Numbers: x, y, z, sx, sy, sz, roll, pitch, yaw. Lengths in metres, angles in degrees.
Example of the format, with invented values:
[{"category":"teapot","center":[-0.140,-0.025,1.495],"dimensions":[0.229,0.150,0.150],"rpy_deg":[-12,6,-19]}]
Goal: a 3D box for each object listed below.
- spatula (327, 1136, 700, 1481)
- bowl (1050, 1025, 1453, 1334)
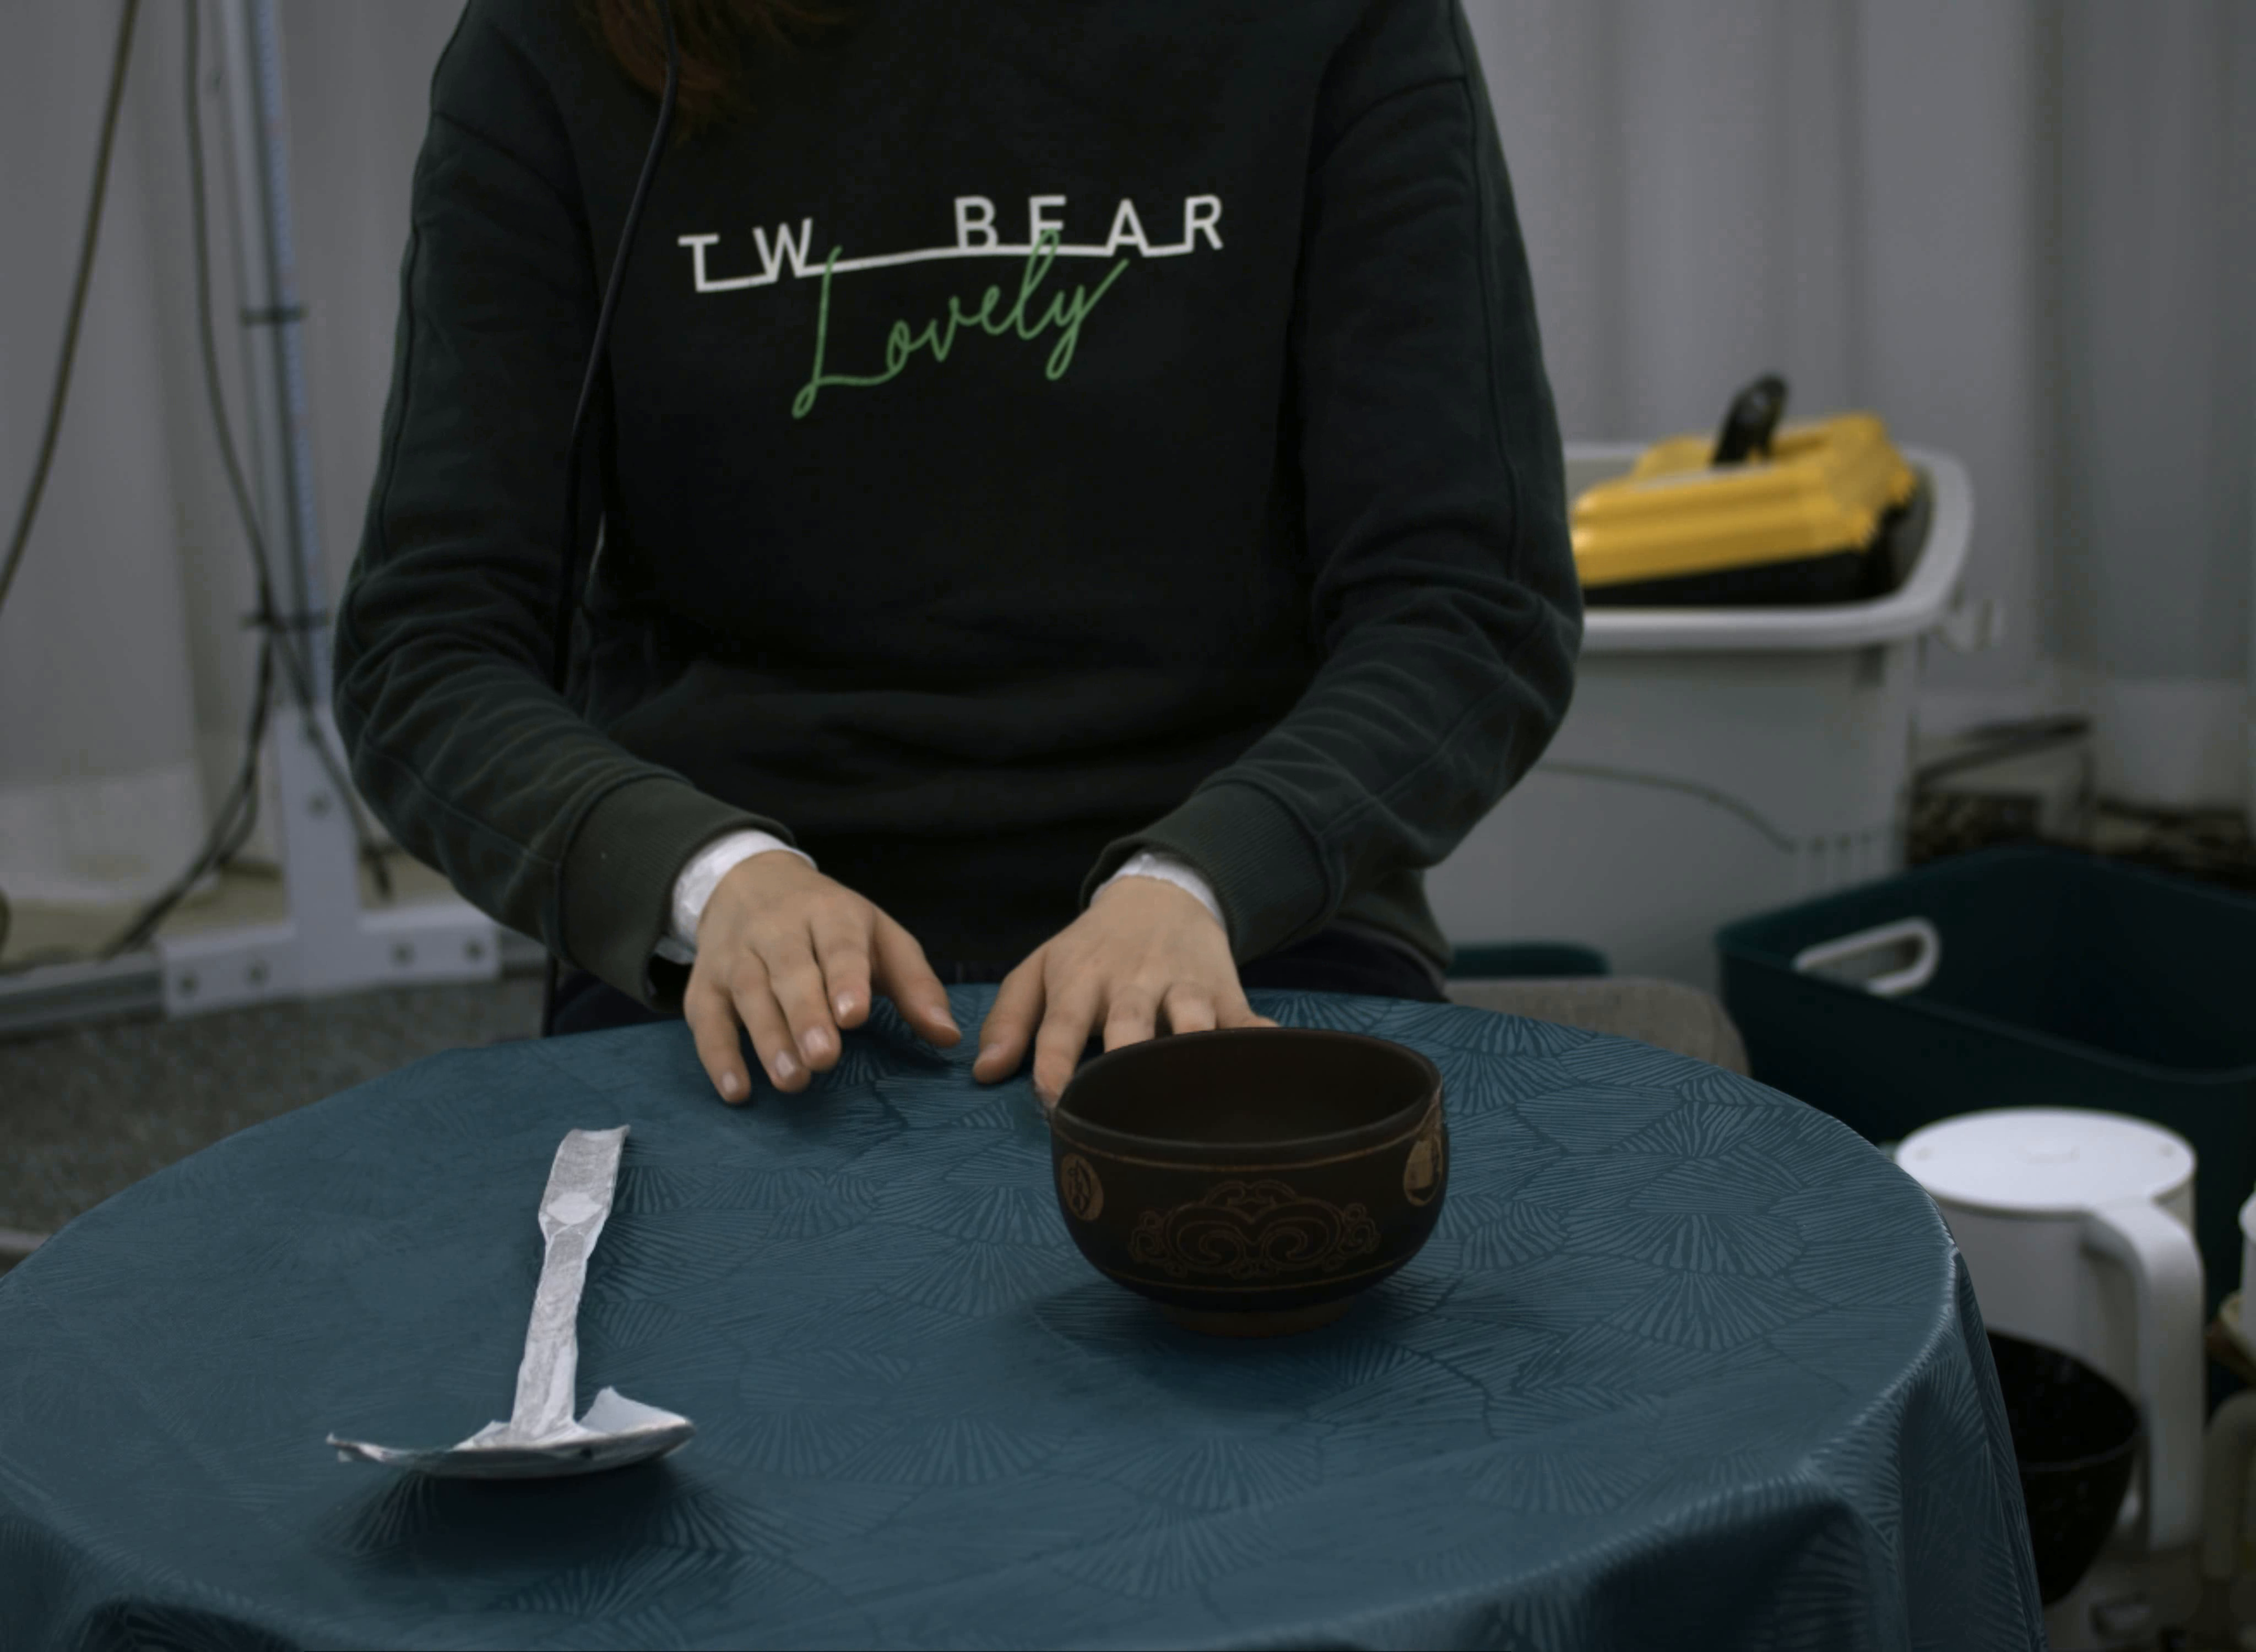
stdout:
[{"category":"spatula","center":[-0.163,0.132,1.604],"dimensions":[0.098,0.044,0.367],"rpy_deg":[-5,15,1]},{"category":"bowl","center":[0.036,0.107,1.599],"dimensions":[0.117,0.069,0.119],"rpy_deg":[-1,14,0]}]
